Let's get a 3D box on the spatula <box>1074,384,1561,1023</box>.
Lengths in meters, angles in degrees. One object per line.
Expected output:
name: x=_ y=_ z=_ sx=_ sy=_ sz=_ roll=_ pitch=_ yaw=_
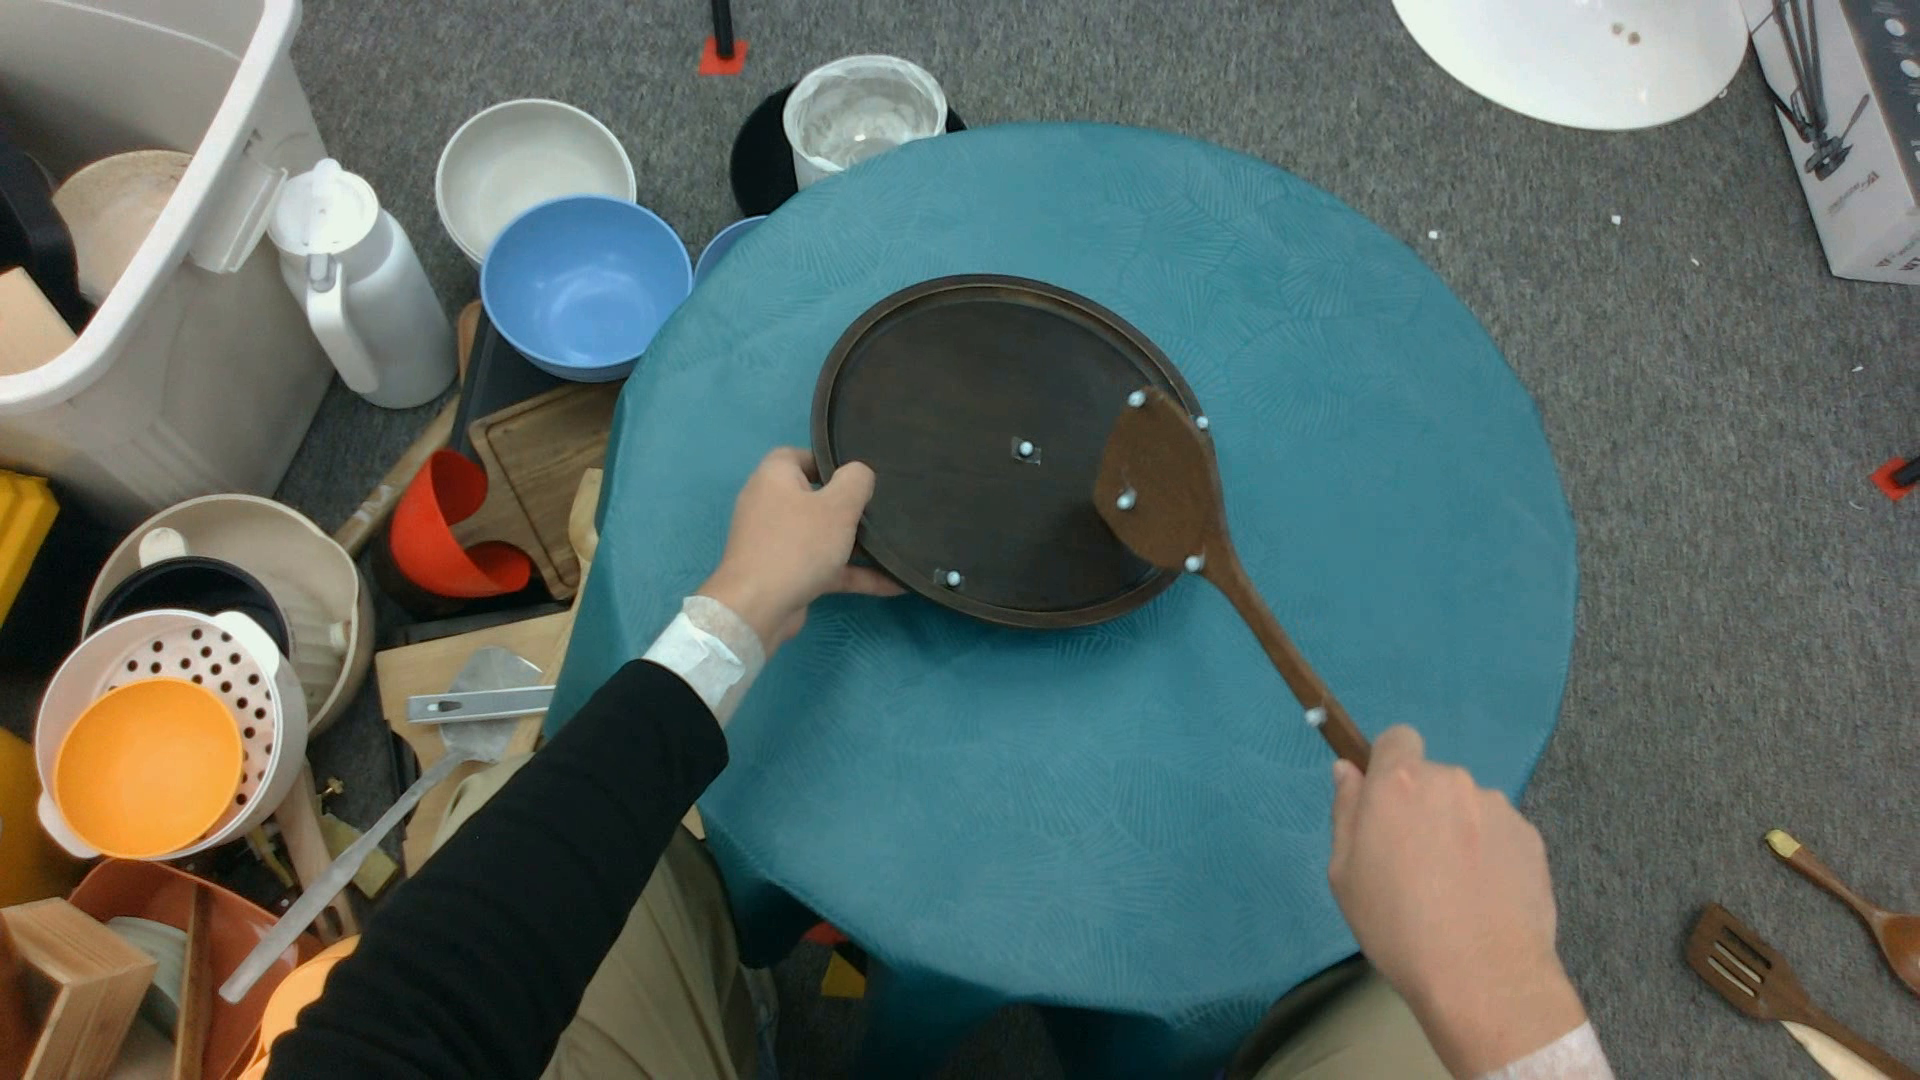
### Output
spatula: x=0.162 y=0.068 z=0.687 sx=0.016 sy=0.095 sz=0.387 roll=-7 pitch=48 yaw=-30

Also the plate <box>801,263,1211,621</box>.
plate: x=0.029 y=-0.064 z=0.830 sx=0.255 sy=0.029 sz=0.256 roll=7 pitch=59 yaw=-12
